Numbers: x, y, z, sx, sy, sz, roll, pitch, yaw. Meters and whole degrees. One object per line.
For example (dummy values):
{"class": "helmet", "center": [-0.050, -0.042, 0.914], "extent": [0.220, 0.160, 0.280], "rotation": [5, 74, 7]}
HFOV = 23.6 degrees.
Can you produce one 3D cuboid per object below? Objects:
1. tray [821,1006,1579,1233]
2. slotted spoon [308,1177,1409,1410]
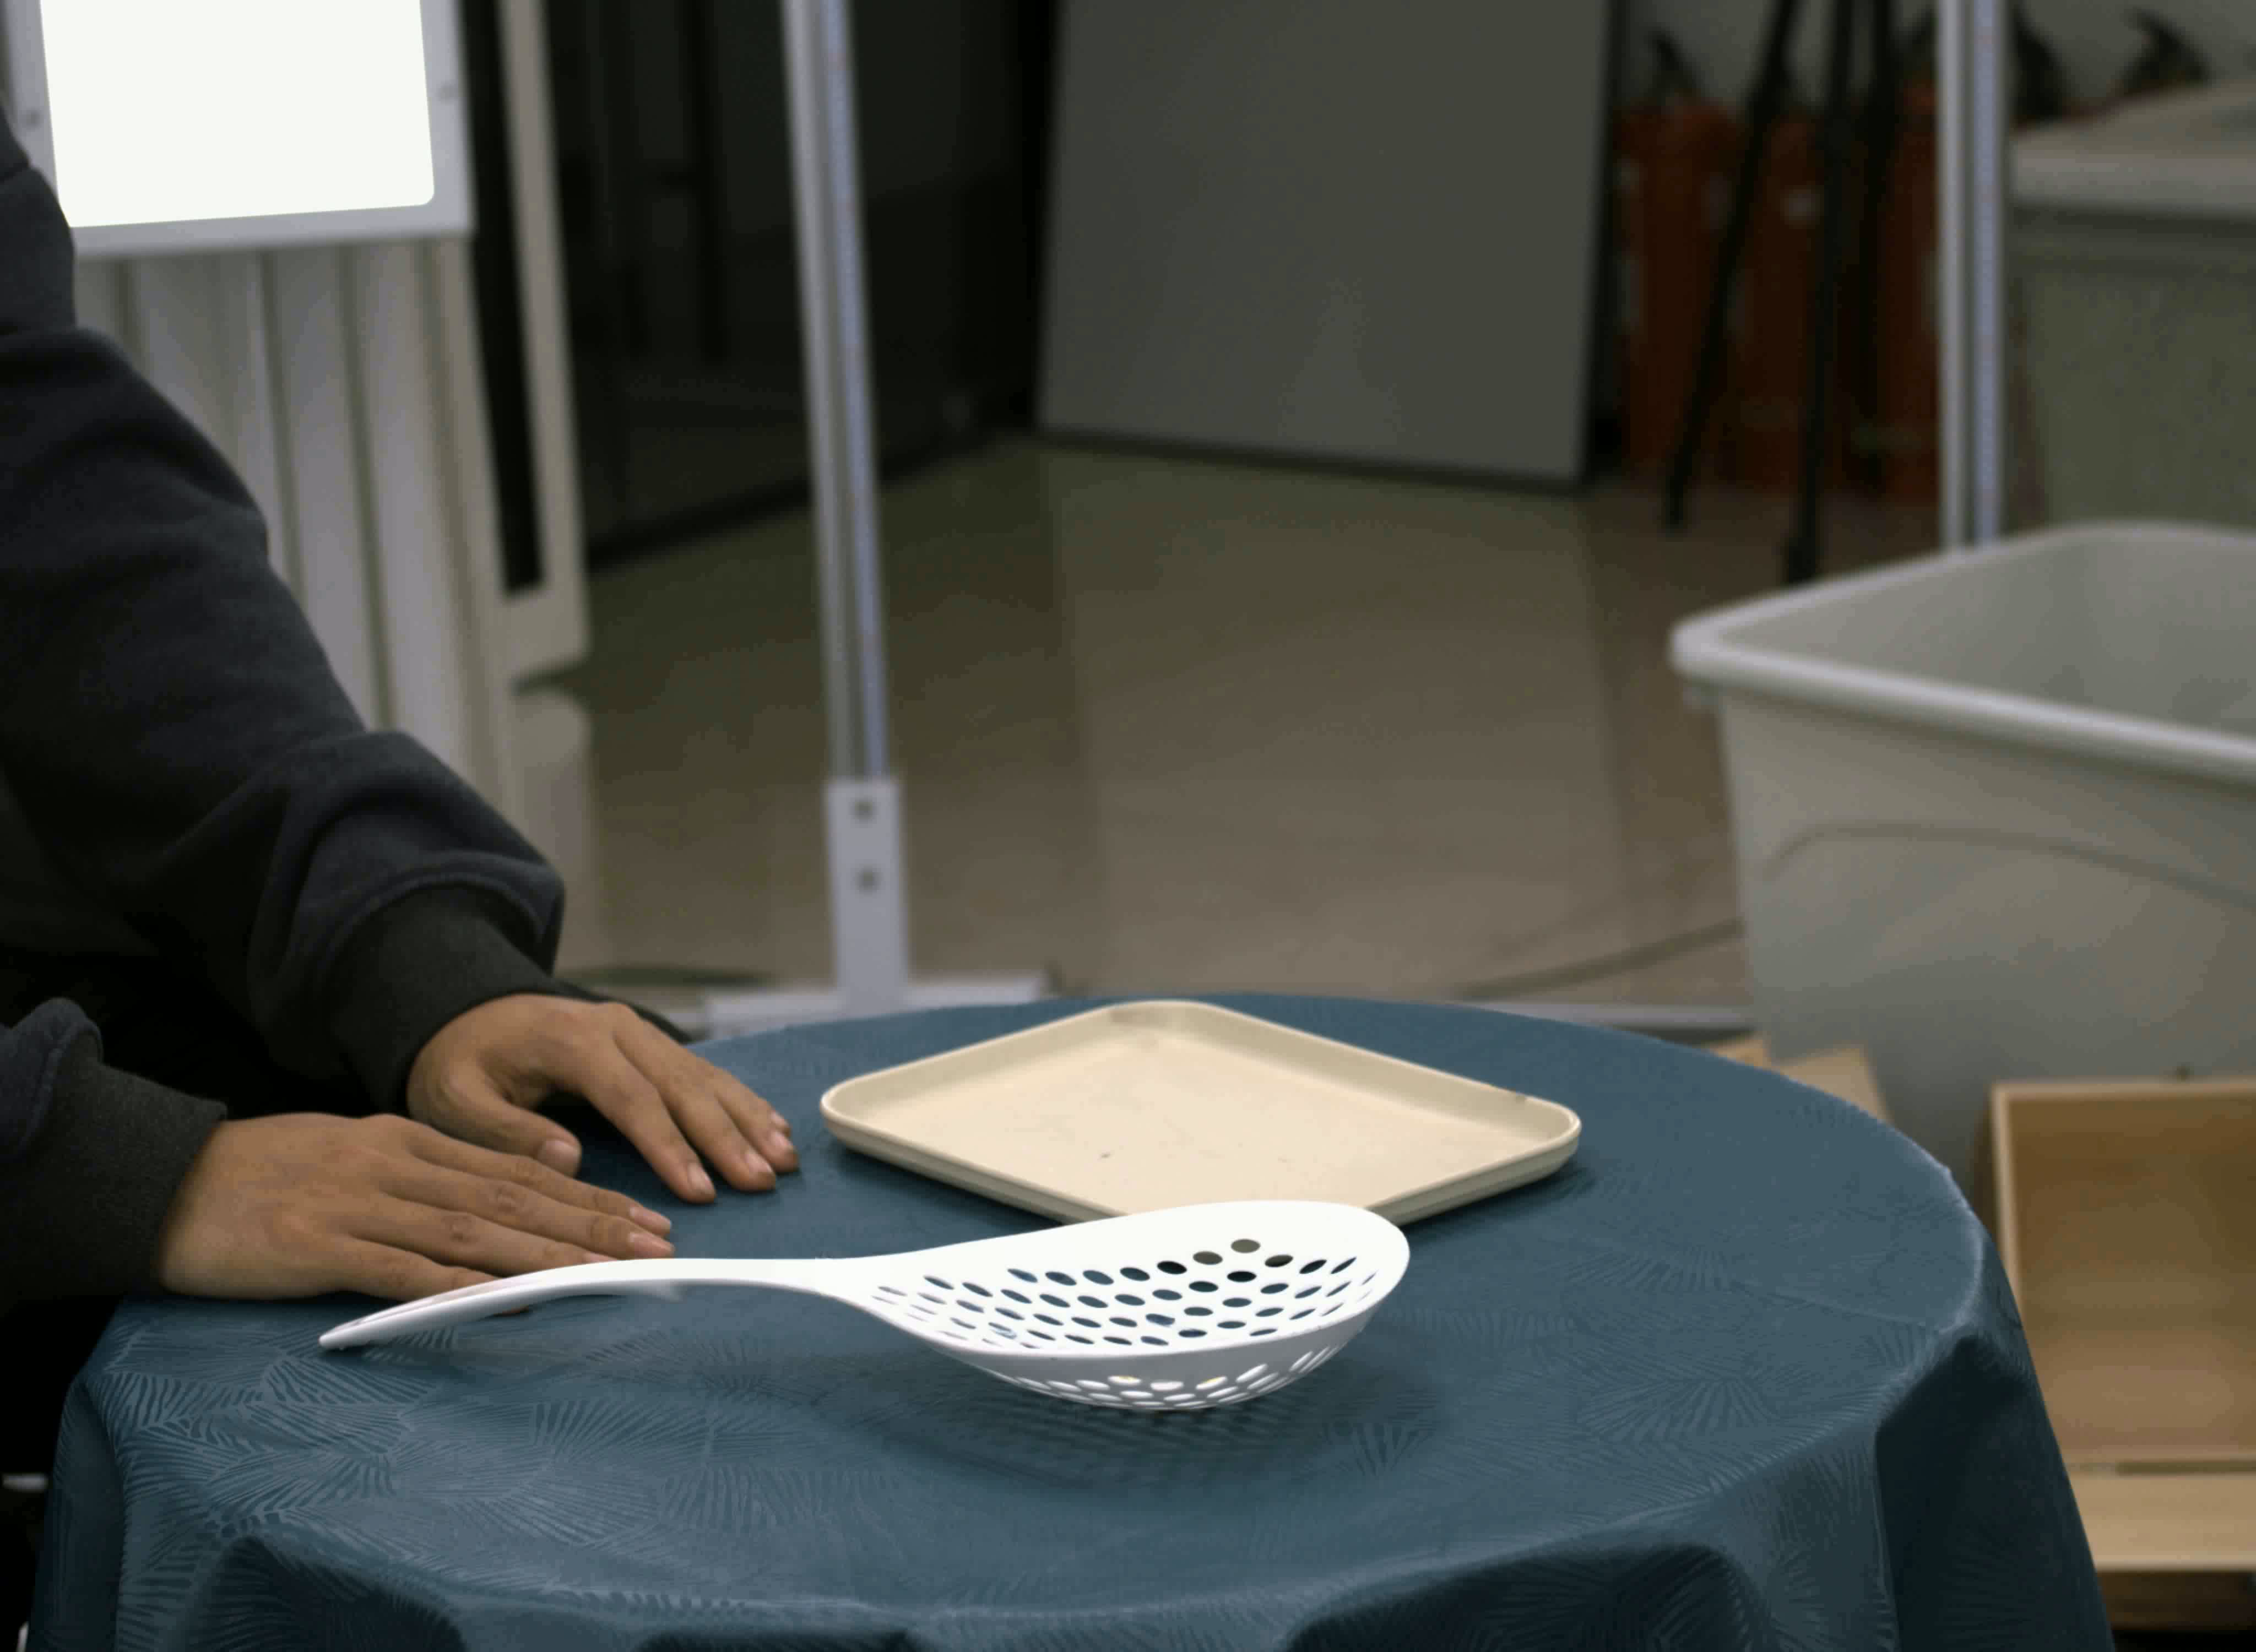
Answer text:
{"class": "tray", "center": [0.022, 0.103, 1.799], "extent": [0.167, 0.017, 0.242], "rotation": [-15, 17, -36]}
{"class": "slotted spoon", "center": [-0.085, 0.144, 1.608], "extent": [0.347, 0.051, 0.135], "rotation": [1, 16, 19]}
